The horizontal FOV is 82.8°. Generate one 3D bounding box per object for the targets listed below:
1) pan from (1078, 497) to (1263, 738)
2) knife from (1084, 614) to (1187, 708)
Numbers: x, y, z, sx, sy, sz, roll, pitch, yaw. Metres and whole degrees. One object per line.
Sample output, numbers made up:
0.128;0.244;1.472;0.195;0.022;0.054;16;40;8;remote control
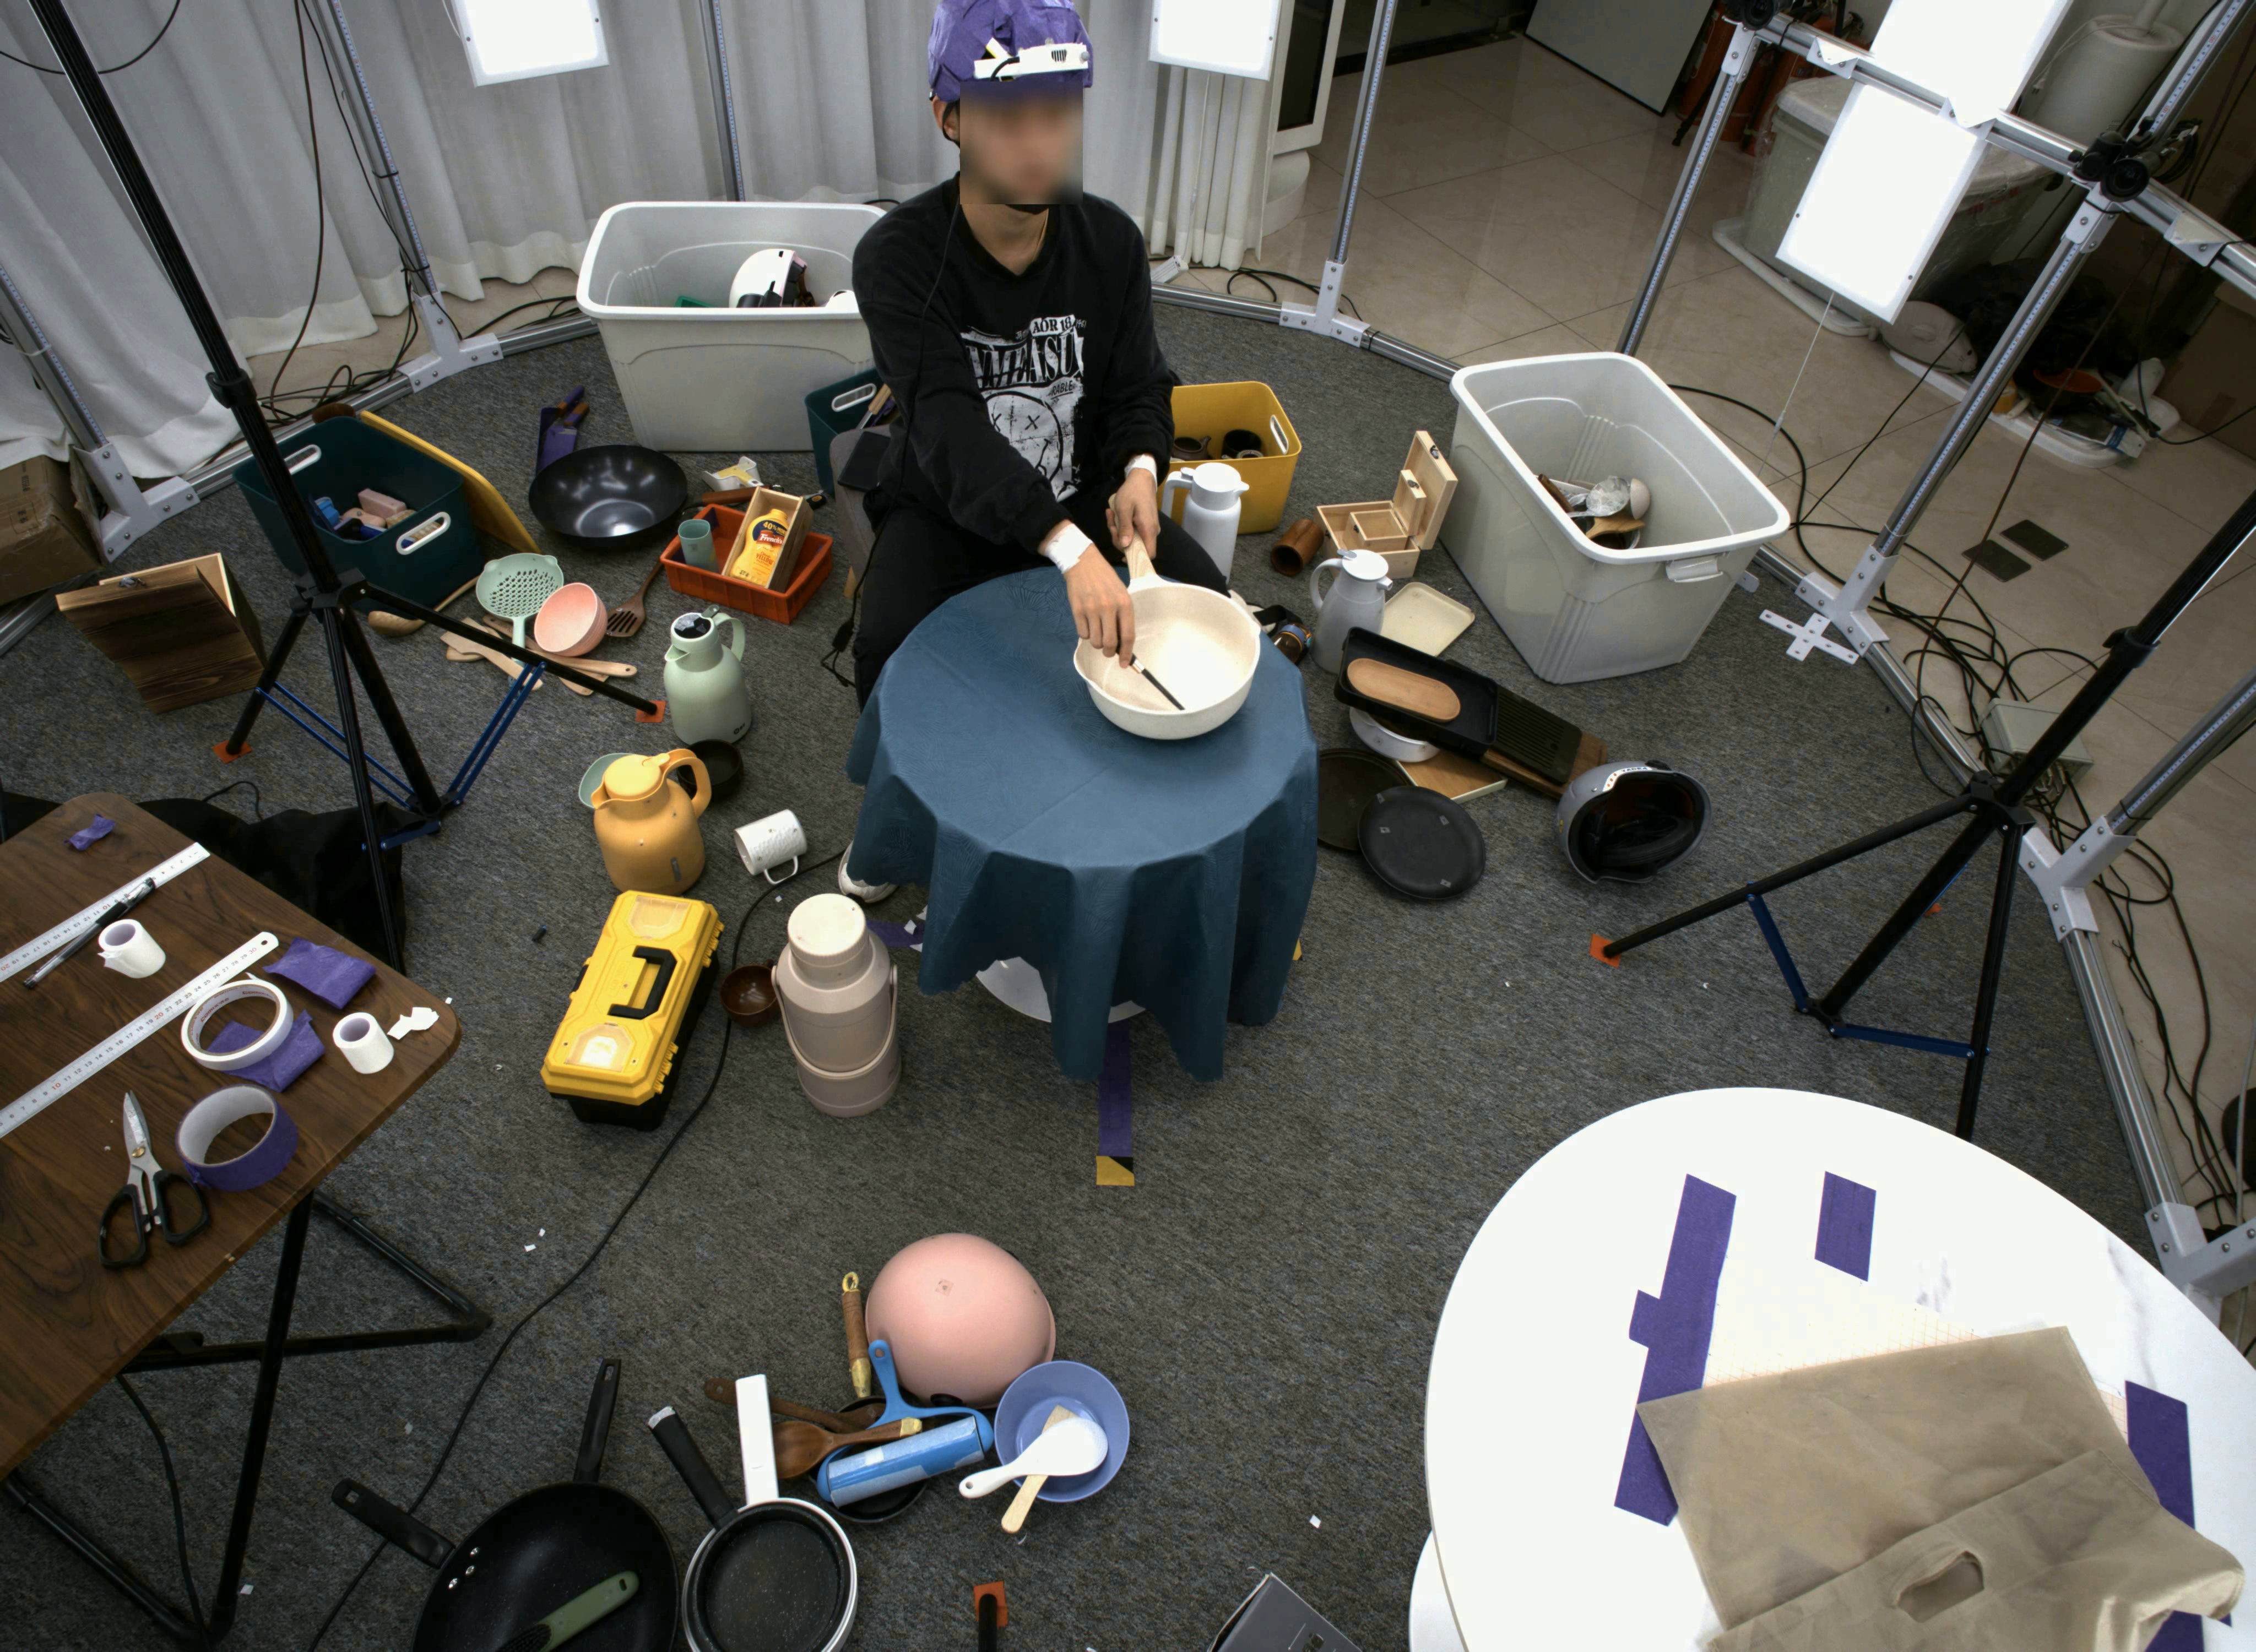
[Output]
0.039;-0.303;1.855;0.263;0.099;0.446;-14;52;-5;pan
0.025;-0.215;1.775;0.225;0.017;0.026;43;31;-1;knife
